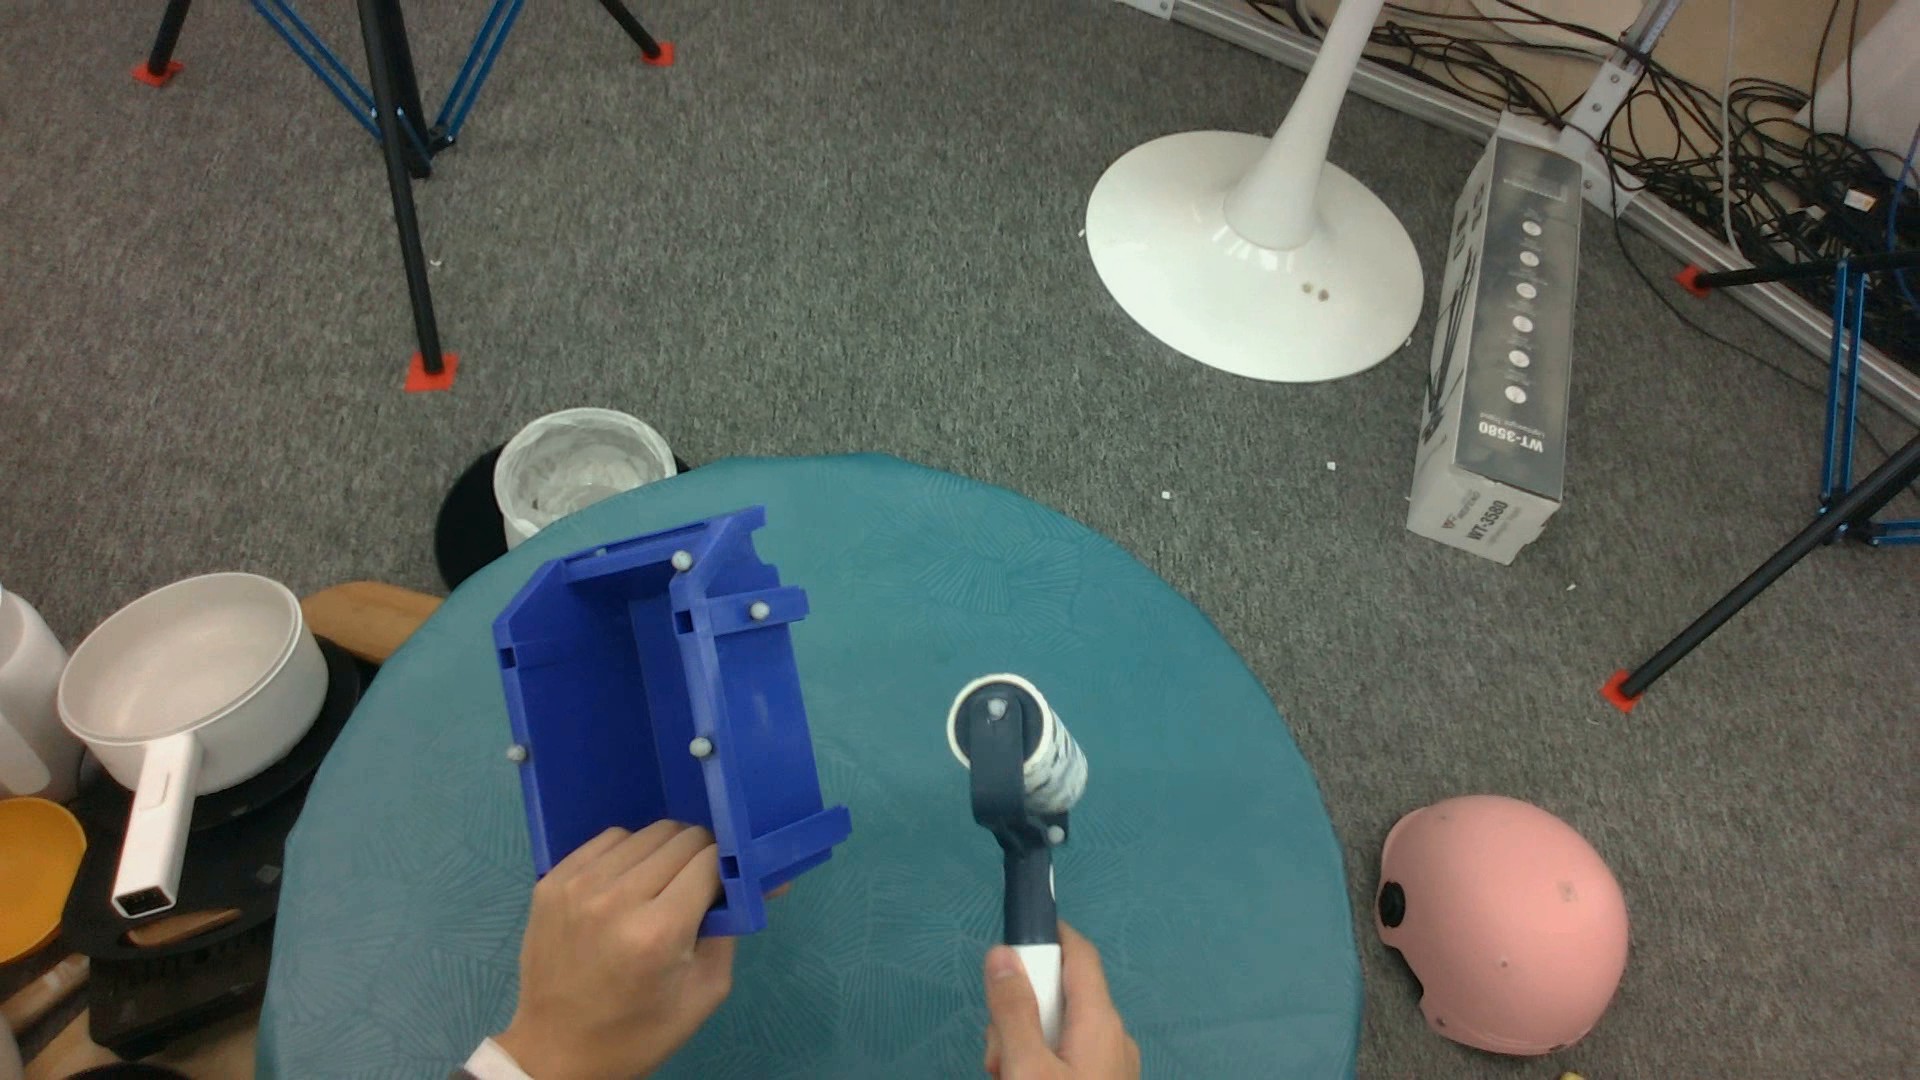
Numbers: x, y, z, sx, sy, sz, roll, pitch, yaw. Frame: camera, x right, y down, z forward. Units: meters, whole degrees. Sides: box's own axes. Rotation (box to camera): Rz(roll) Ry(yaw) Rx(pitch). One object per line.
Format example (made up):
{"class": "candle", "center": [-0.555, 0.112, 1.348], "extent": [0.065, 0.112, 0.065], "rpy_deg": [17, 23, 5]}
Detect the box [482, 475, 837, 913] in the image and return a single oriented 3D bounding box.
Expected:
{"class": "box", "center": [-0.141, 0.070, 0.635], "extent": [0.082, 0.124, 0.179], "rpy_deg": [-12, 91, -61]}

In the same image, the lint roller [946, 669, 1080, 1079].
{"class": "lint roller", "center": [0.037, 0.197, 0.649], "extent": [0.050, 0.176, 0.247], "rpy_deg": [-8, 72, 8]}
